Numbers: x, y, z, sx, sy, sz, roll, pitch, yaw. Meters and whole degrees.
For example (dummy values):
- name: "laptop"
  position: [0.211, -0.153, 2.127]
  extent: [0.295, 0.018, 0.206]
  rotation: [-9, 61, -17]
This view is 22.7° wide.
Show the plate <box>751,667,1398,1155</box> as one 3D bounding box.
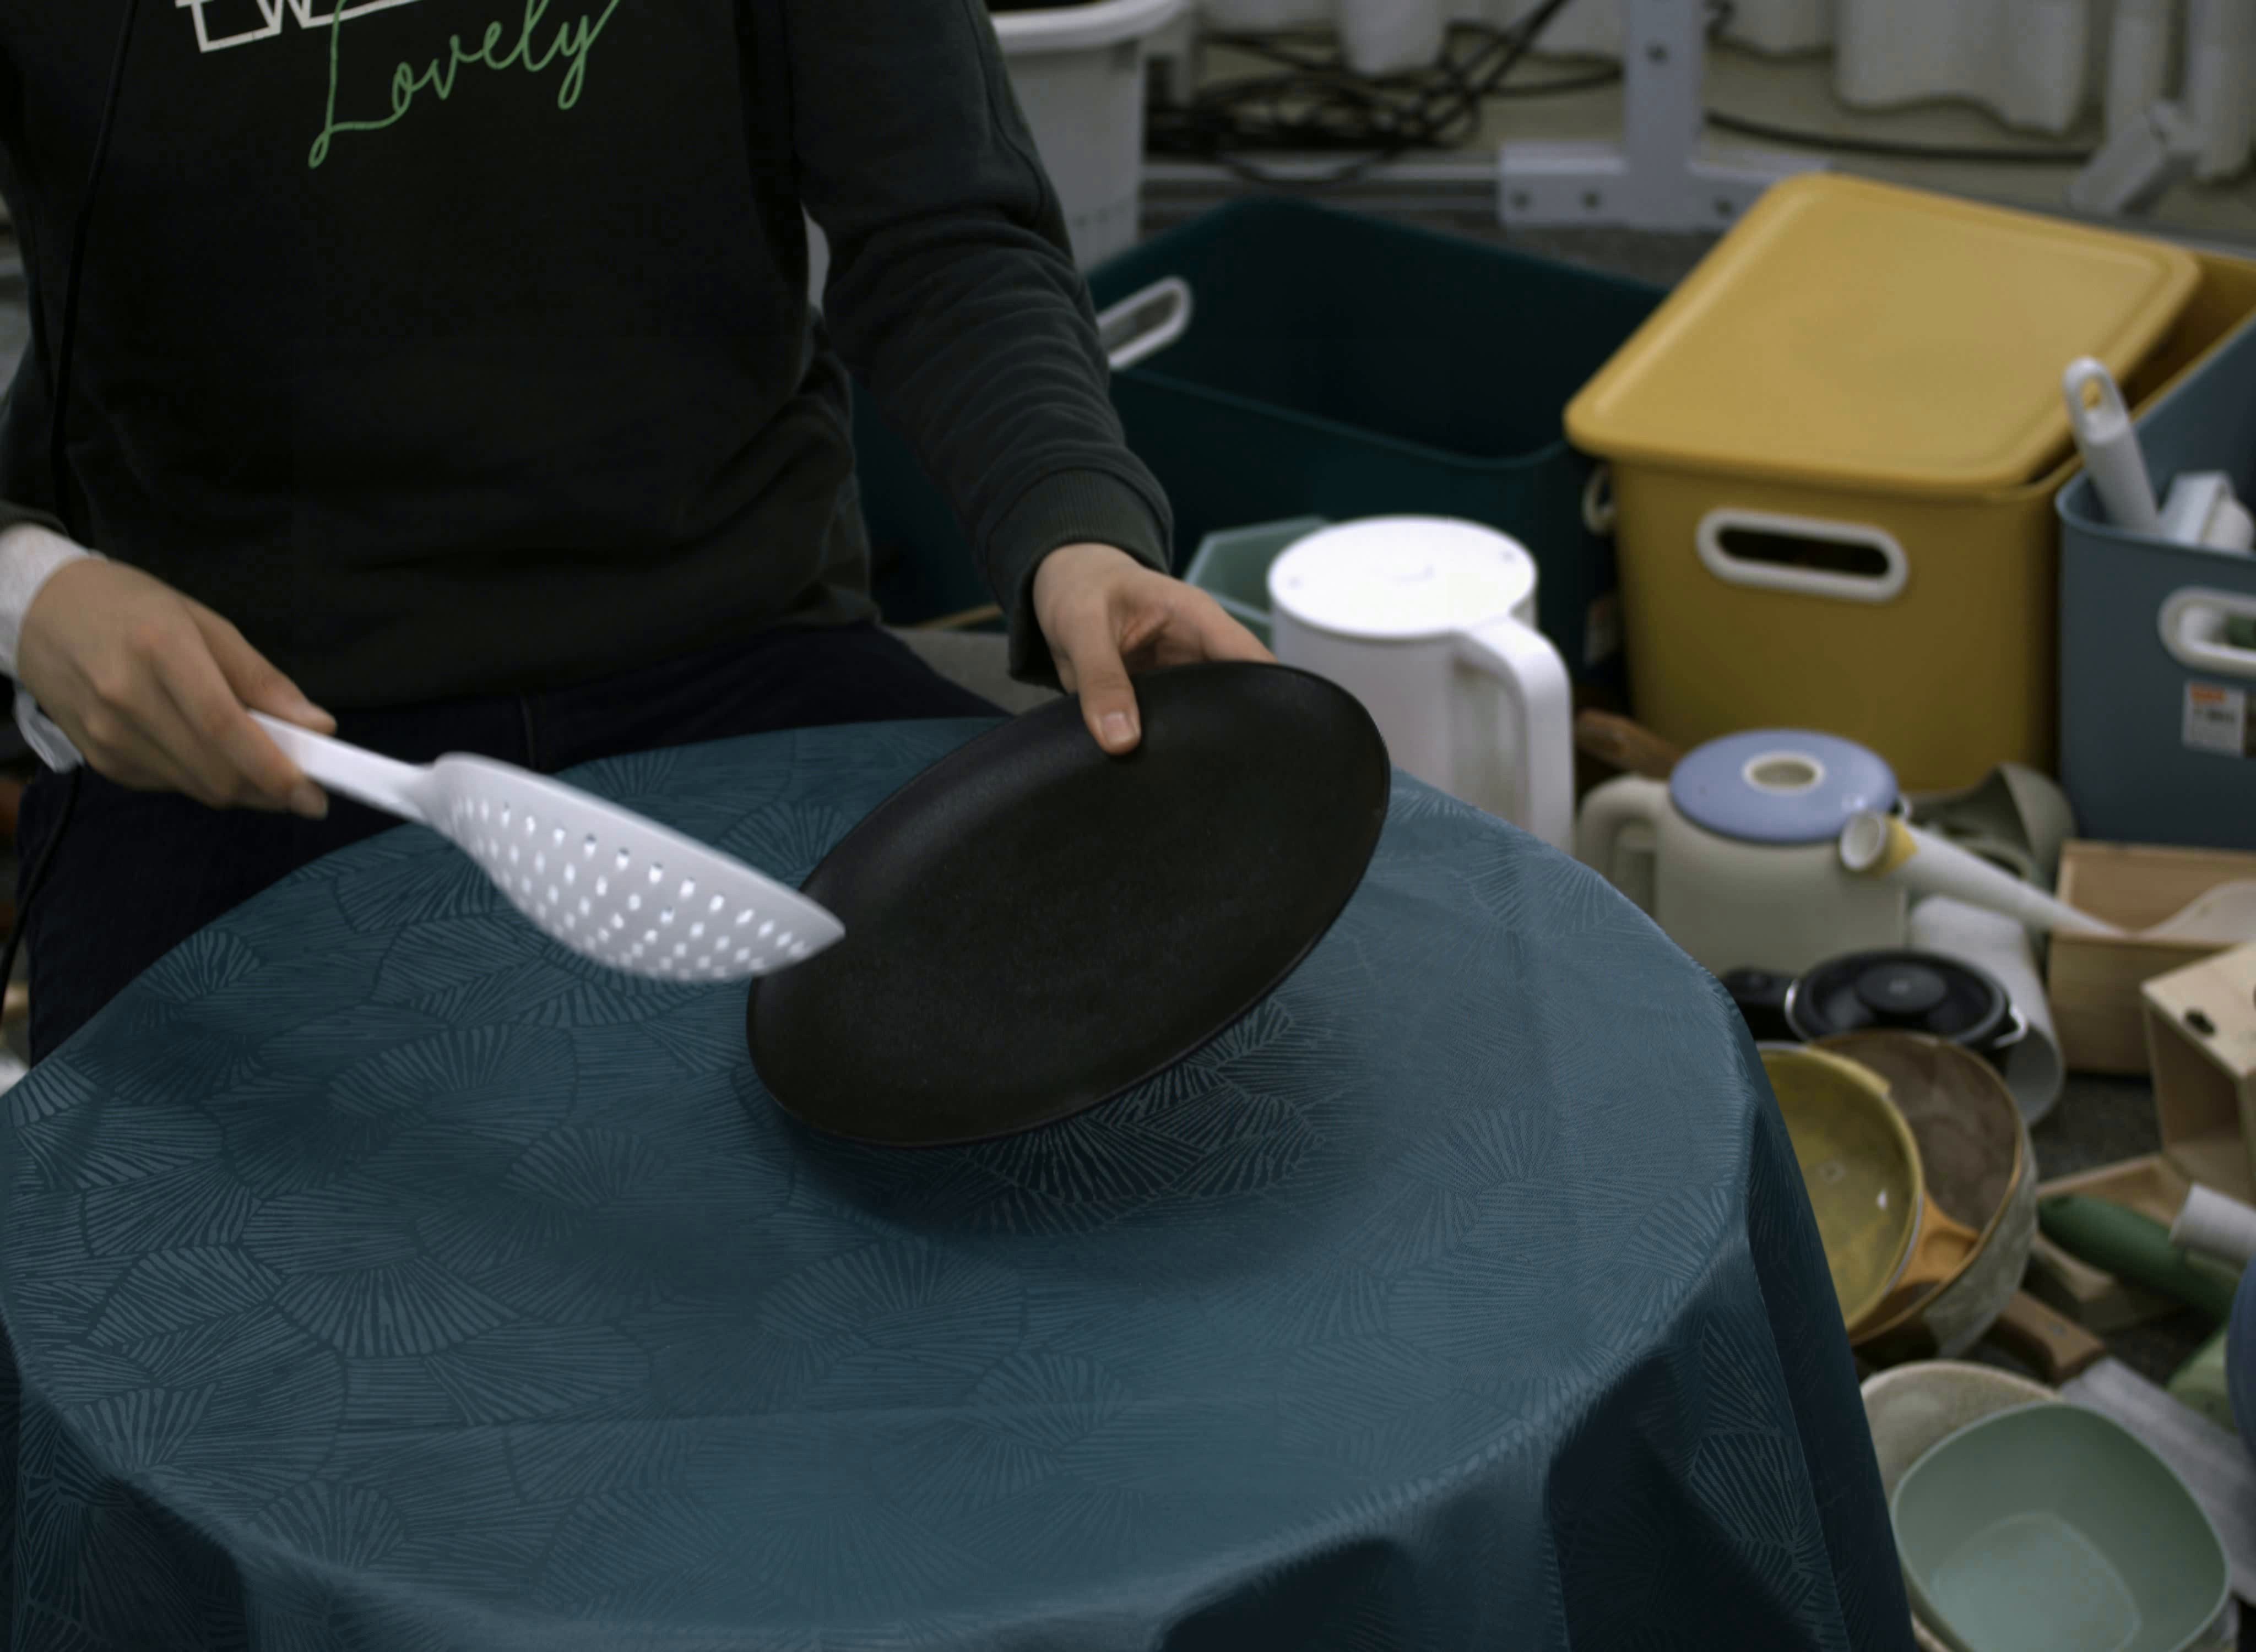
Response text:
- name: "plate"
  position: [-0.016, 0.033, 1.913]
  extent: [0.242, 0.023, 0.249]
  rotation: [-20, 32, 13]

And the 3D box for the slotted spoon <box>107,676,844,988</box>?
- name: "slotted spoon"
  position: [-0.229, -0.007, 1.845]
  extent: [0.349, 0.046, 0.135]
  rotation: [23, -6, 45]
